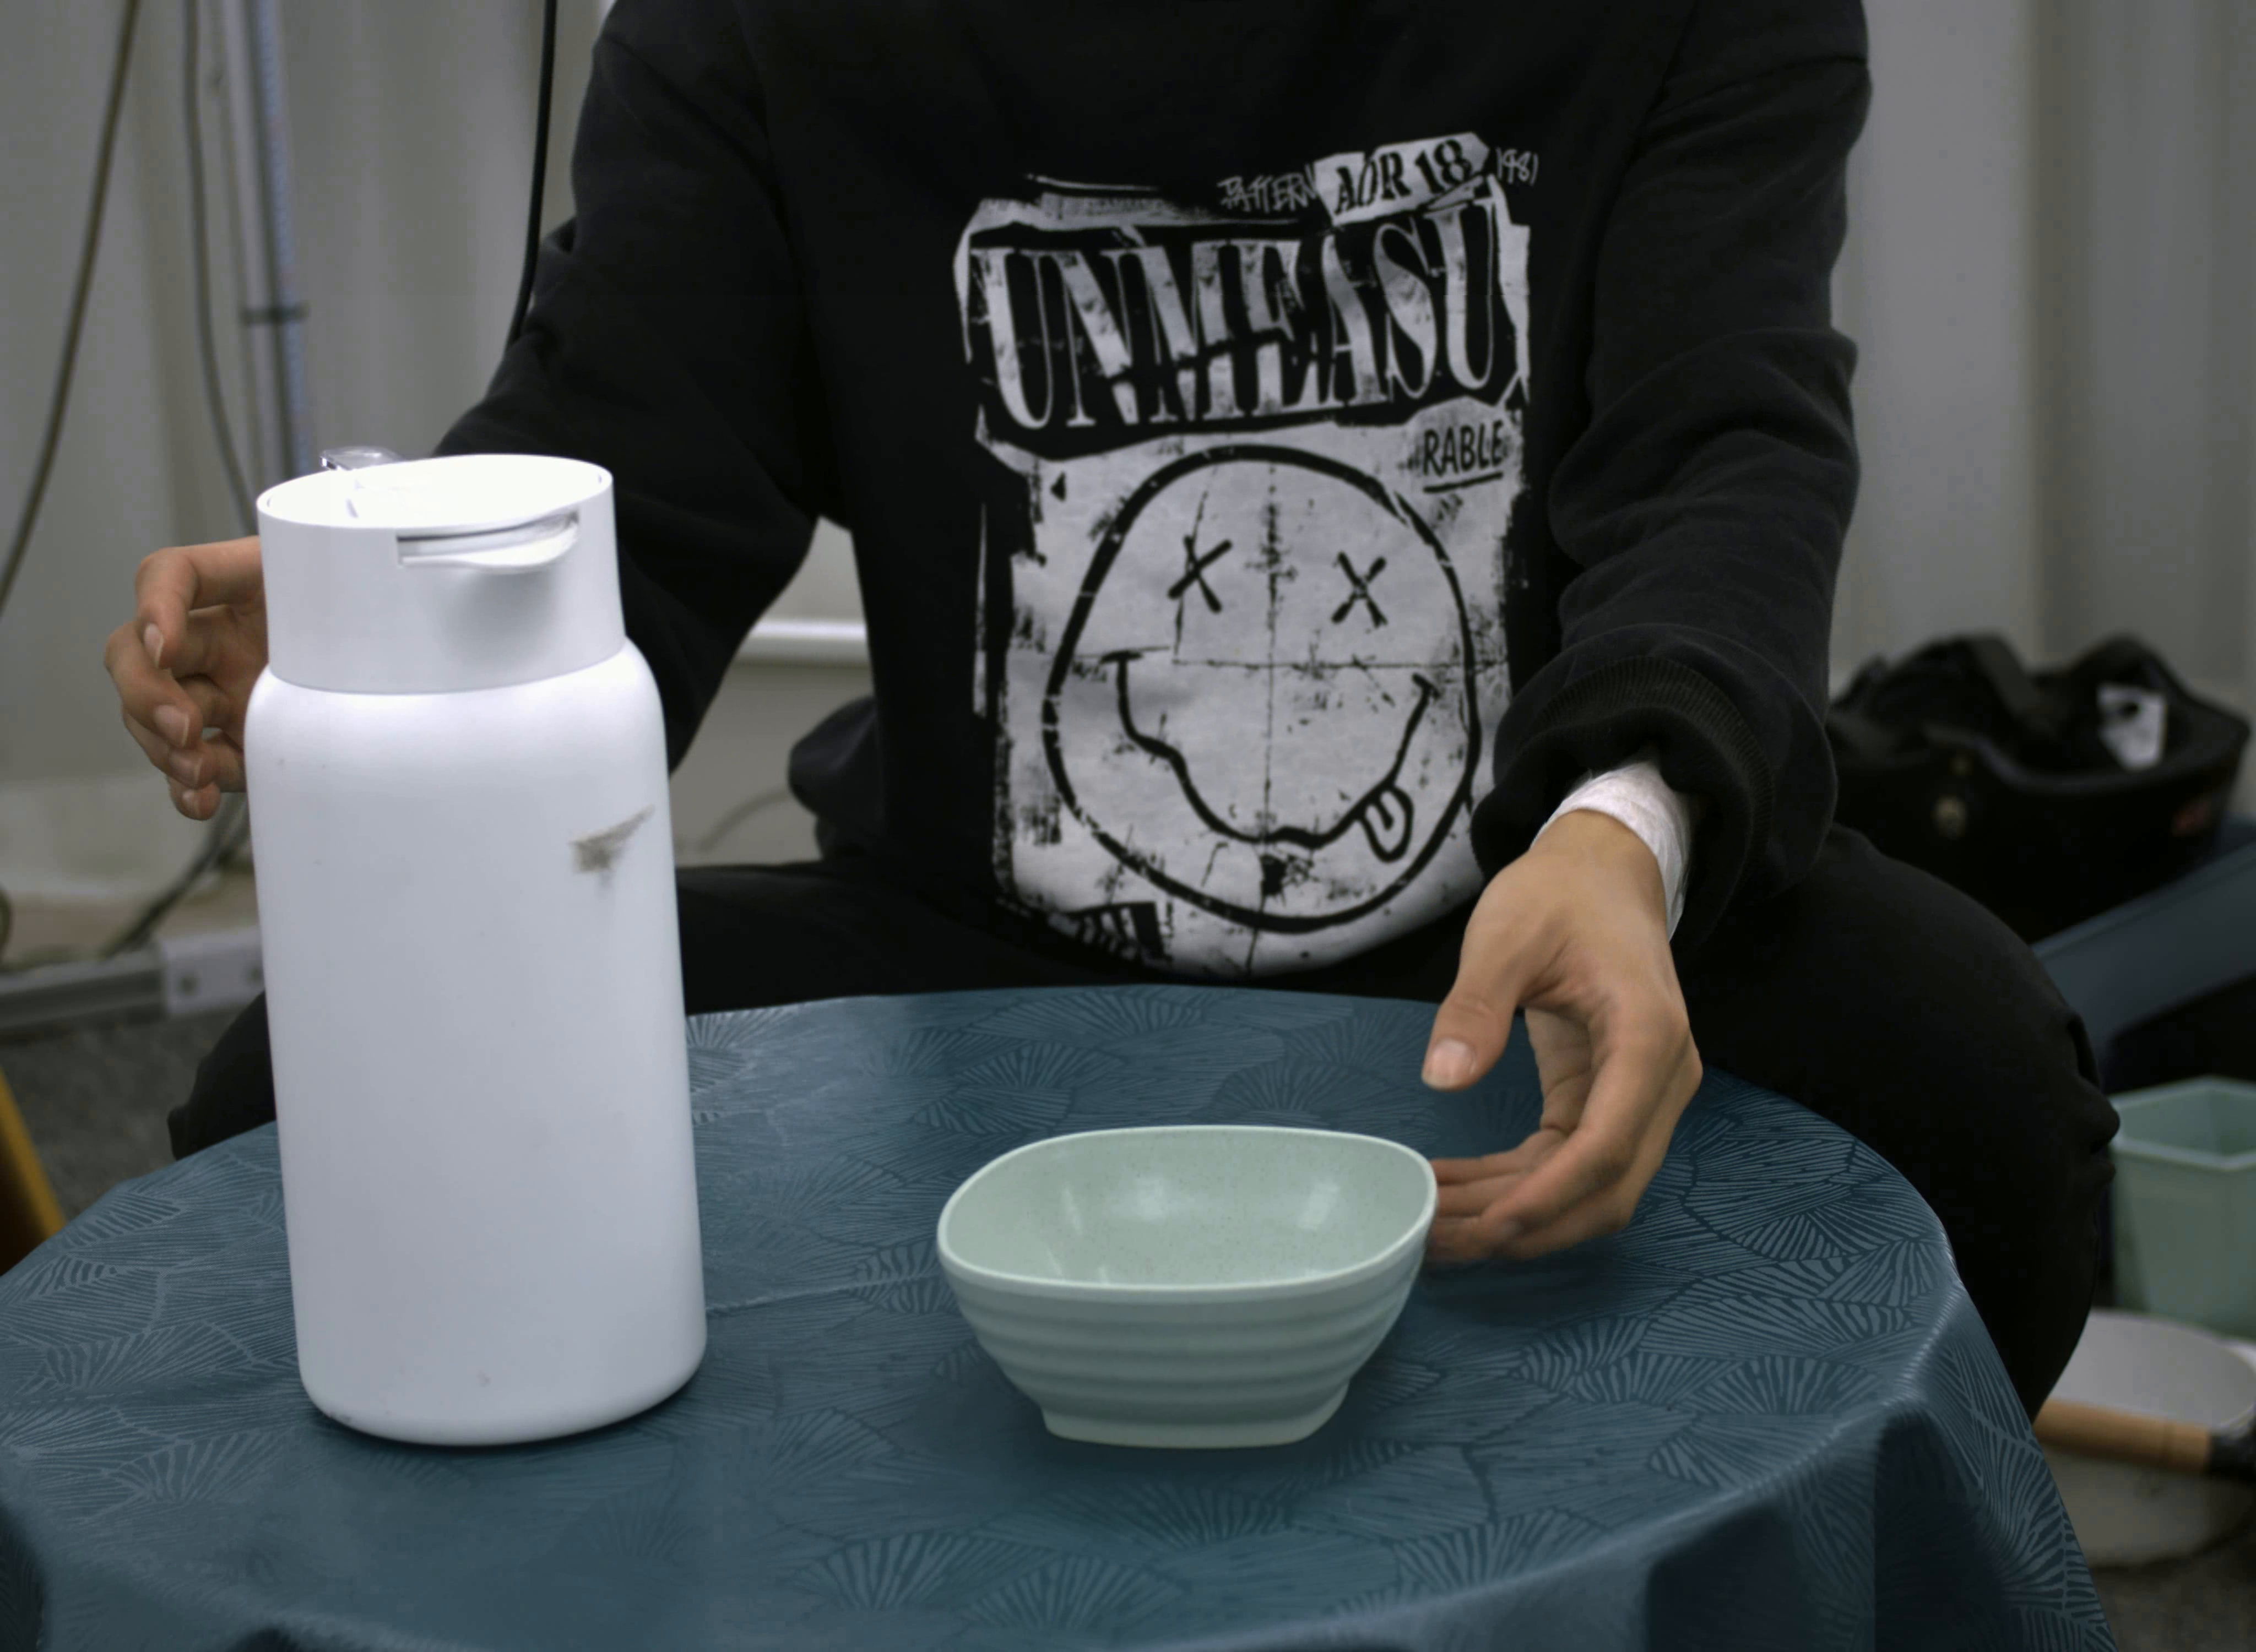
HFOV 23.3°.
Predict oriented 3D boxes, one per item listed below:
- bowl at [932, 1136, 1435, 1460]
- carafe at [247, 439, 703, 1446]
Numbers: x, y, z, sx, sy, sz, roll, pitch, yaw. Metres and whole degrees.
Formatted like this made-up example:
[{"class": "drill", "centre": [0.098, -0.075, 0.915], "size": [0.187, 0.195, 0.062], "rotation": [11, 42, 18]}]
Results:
[{"class": "bowl", "centre": [0.017, 0.136, 1.532], "size": [0.151, 0.058, 0.152], "rotation": [-2, 14, 0]}, {"class": "carafe", "centre": [-0.194, 0.029, 1.558], "size": [0.123, 0.268, 0.174], "rotation": [-12, 16, -26]}]
